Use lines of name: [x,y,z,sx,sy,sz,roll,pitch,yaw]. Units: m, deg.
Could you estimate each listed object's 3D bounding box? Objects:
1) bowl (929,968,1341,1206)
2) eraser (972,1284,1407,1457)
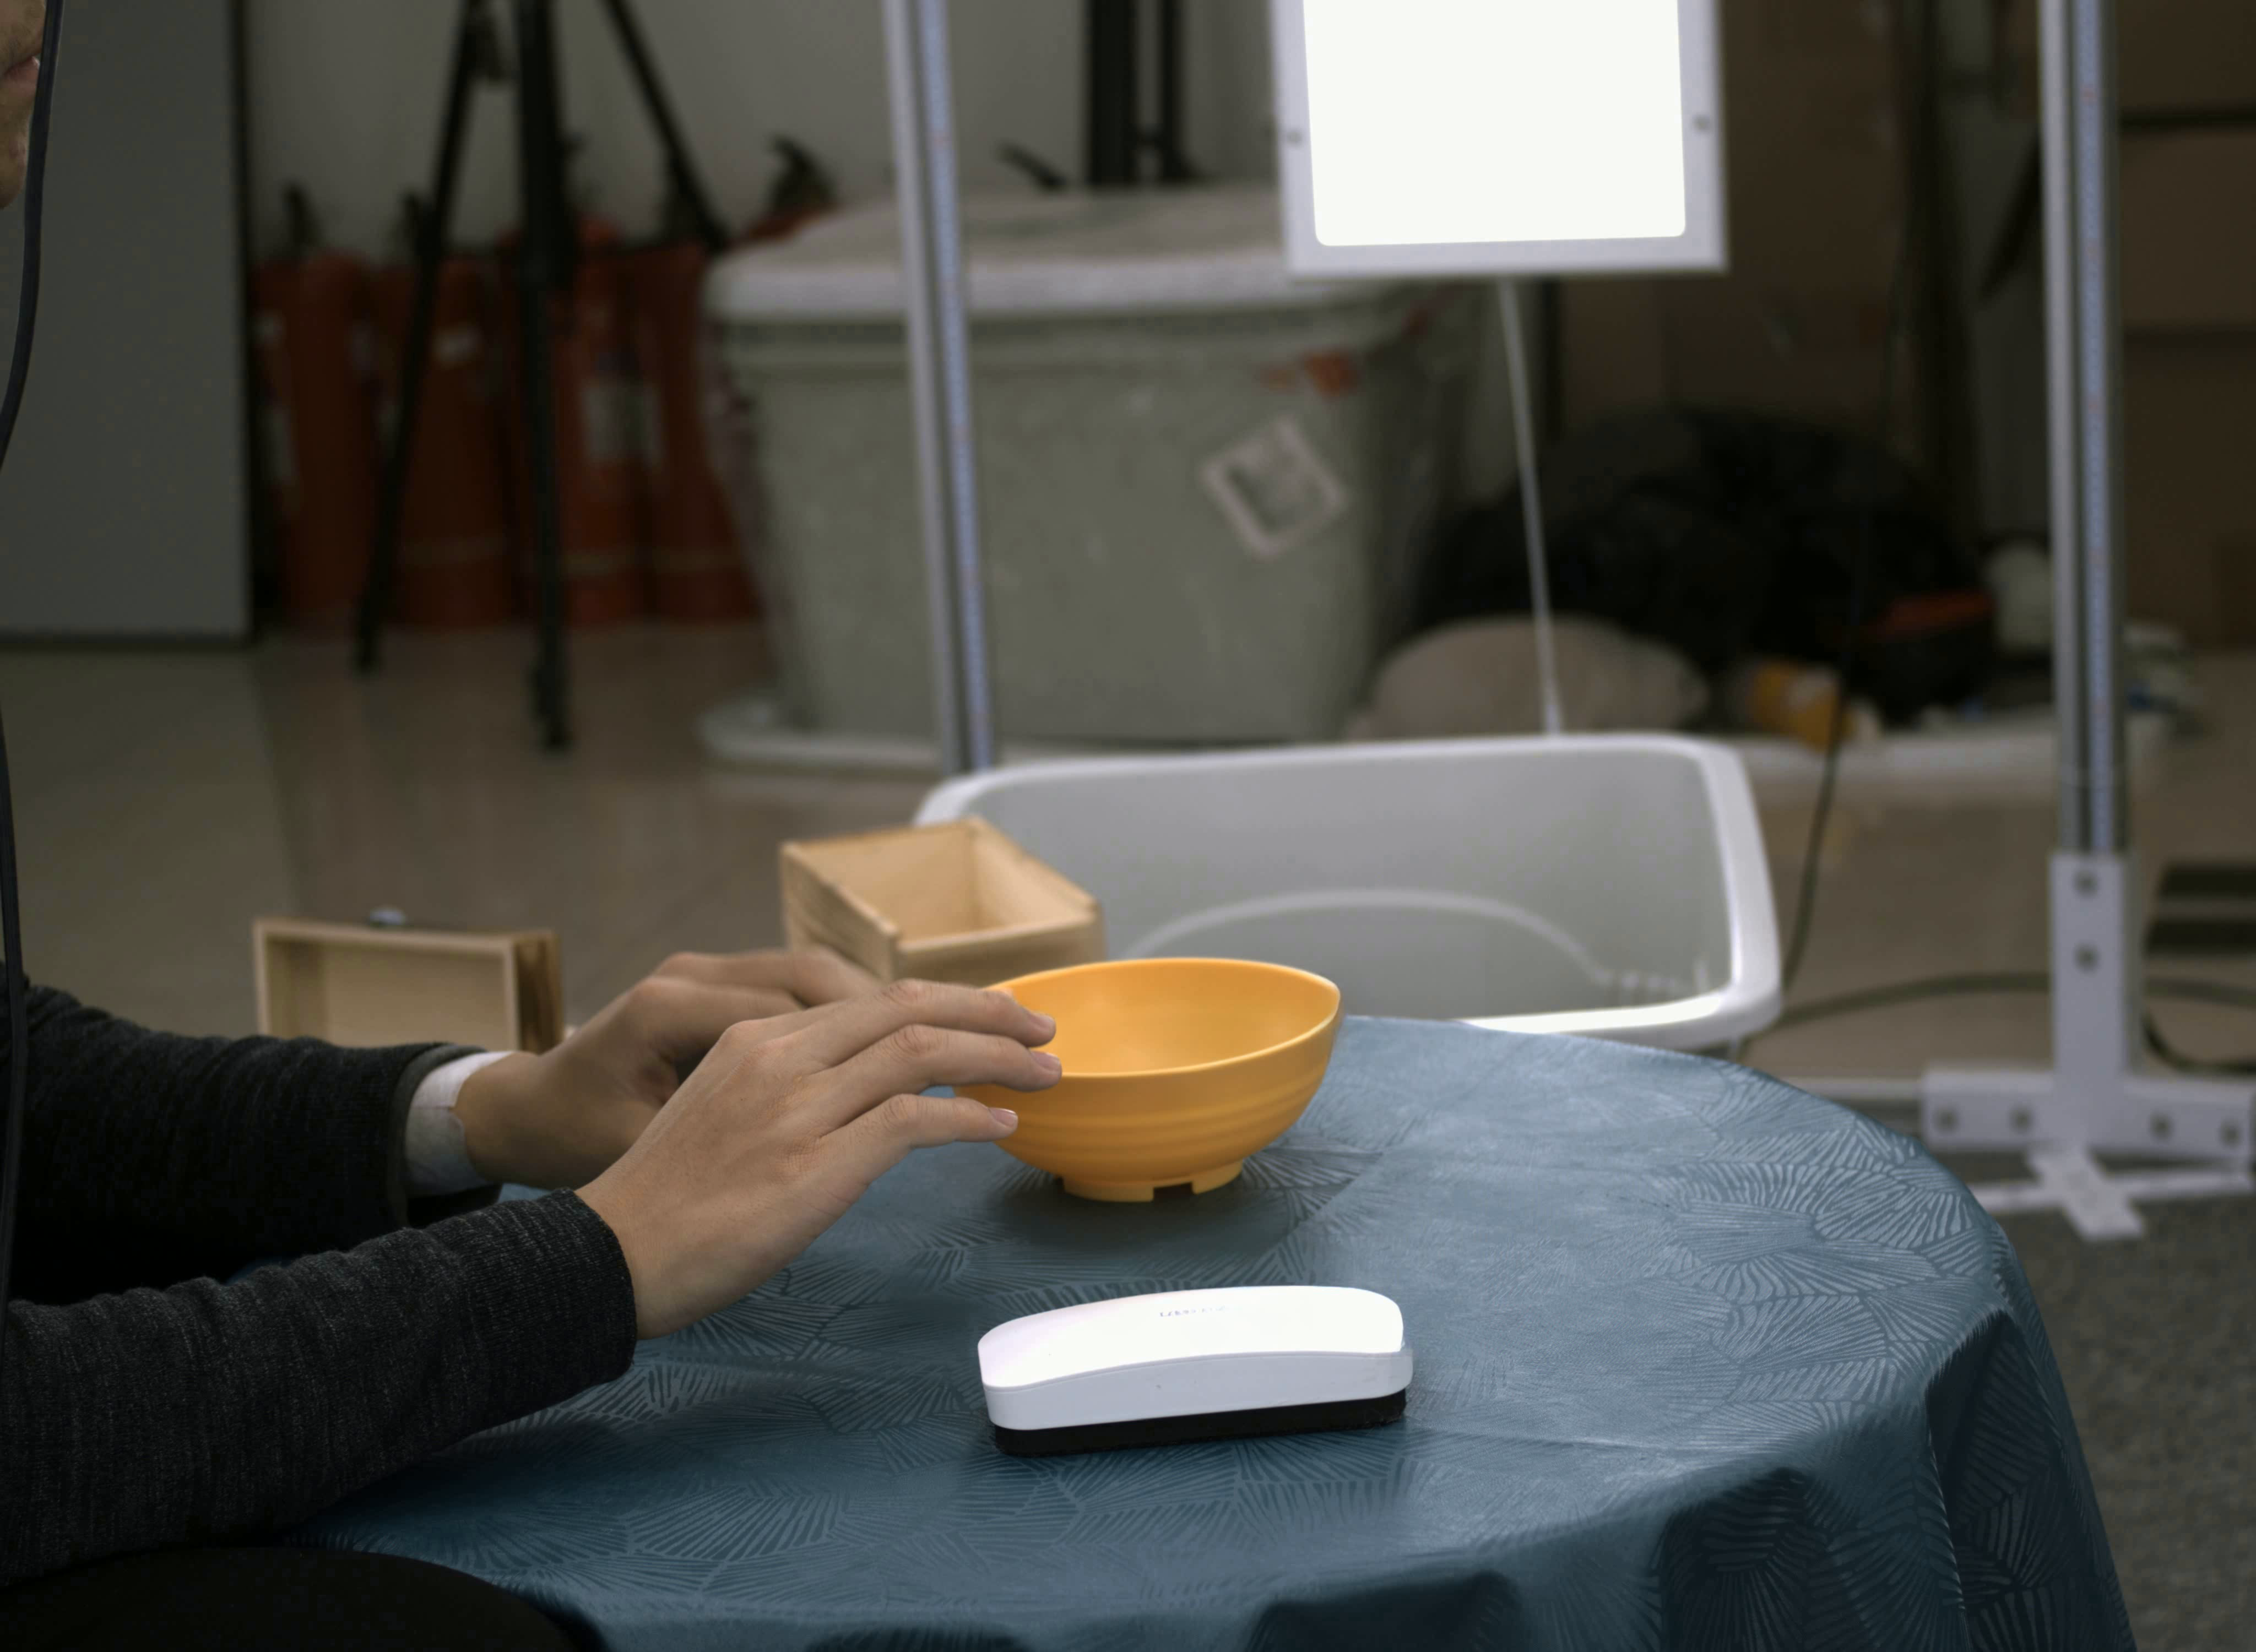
bowl: [0.005,0.094,1.908,0.145,0.060,0.145,-6,12,0]
eraser: [0.019,0.164,1.674,0.131,0.034,0.063,-4,13,0]
